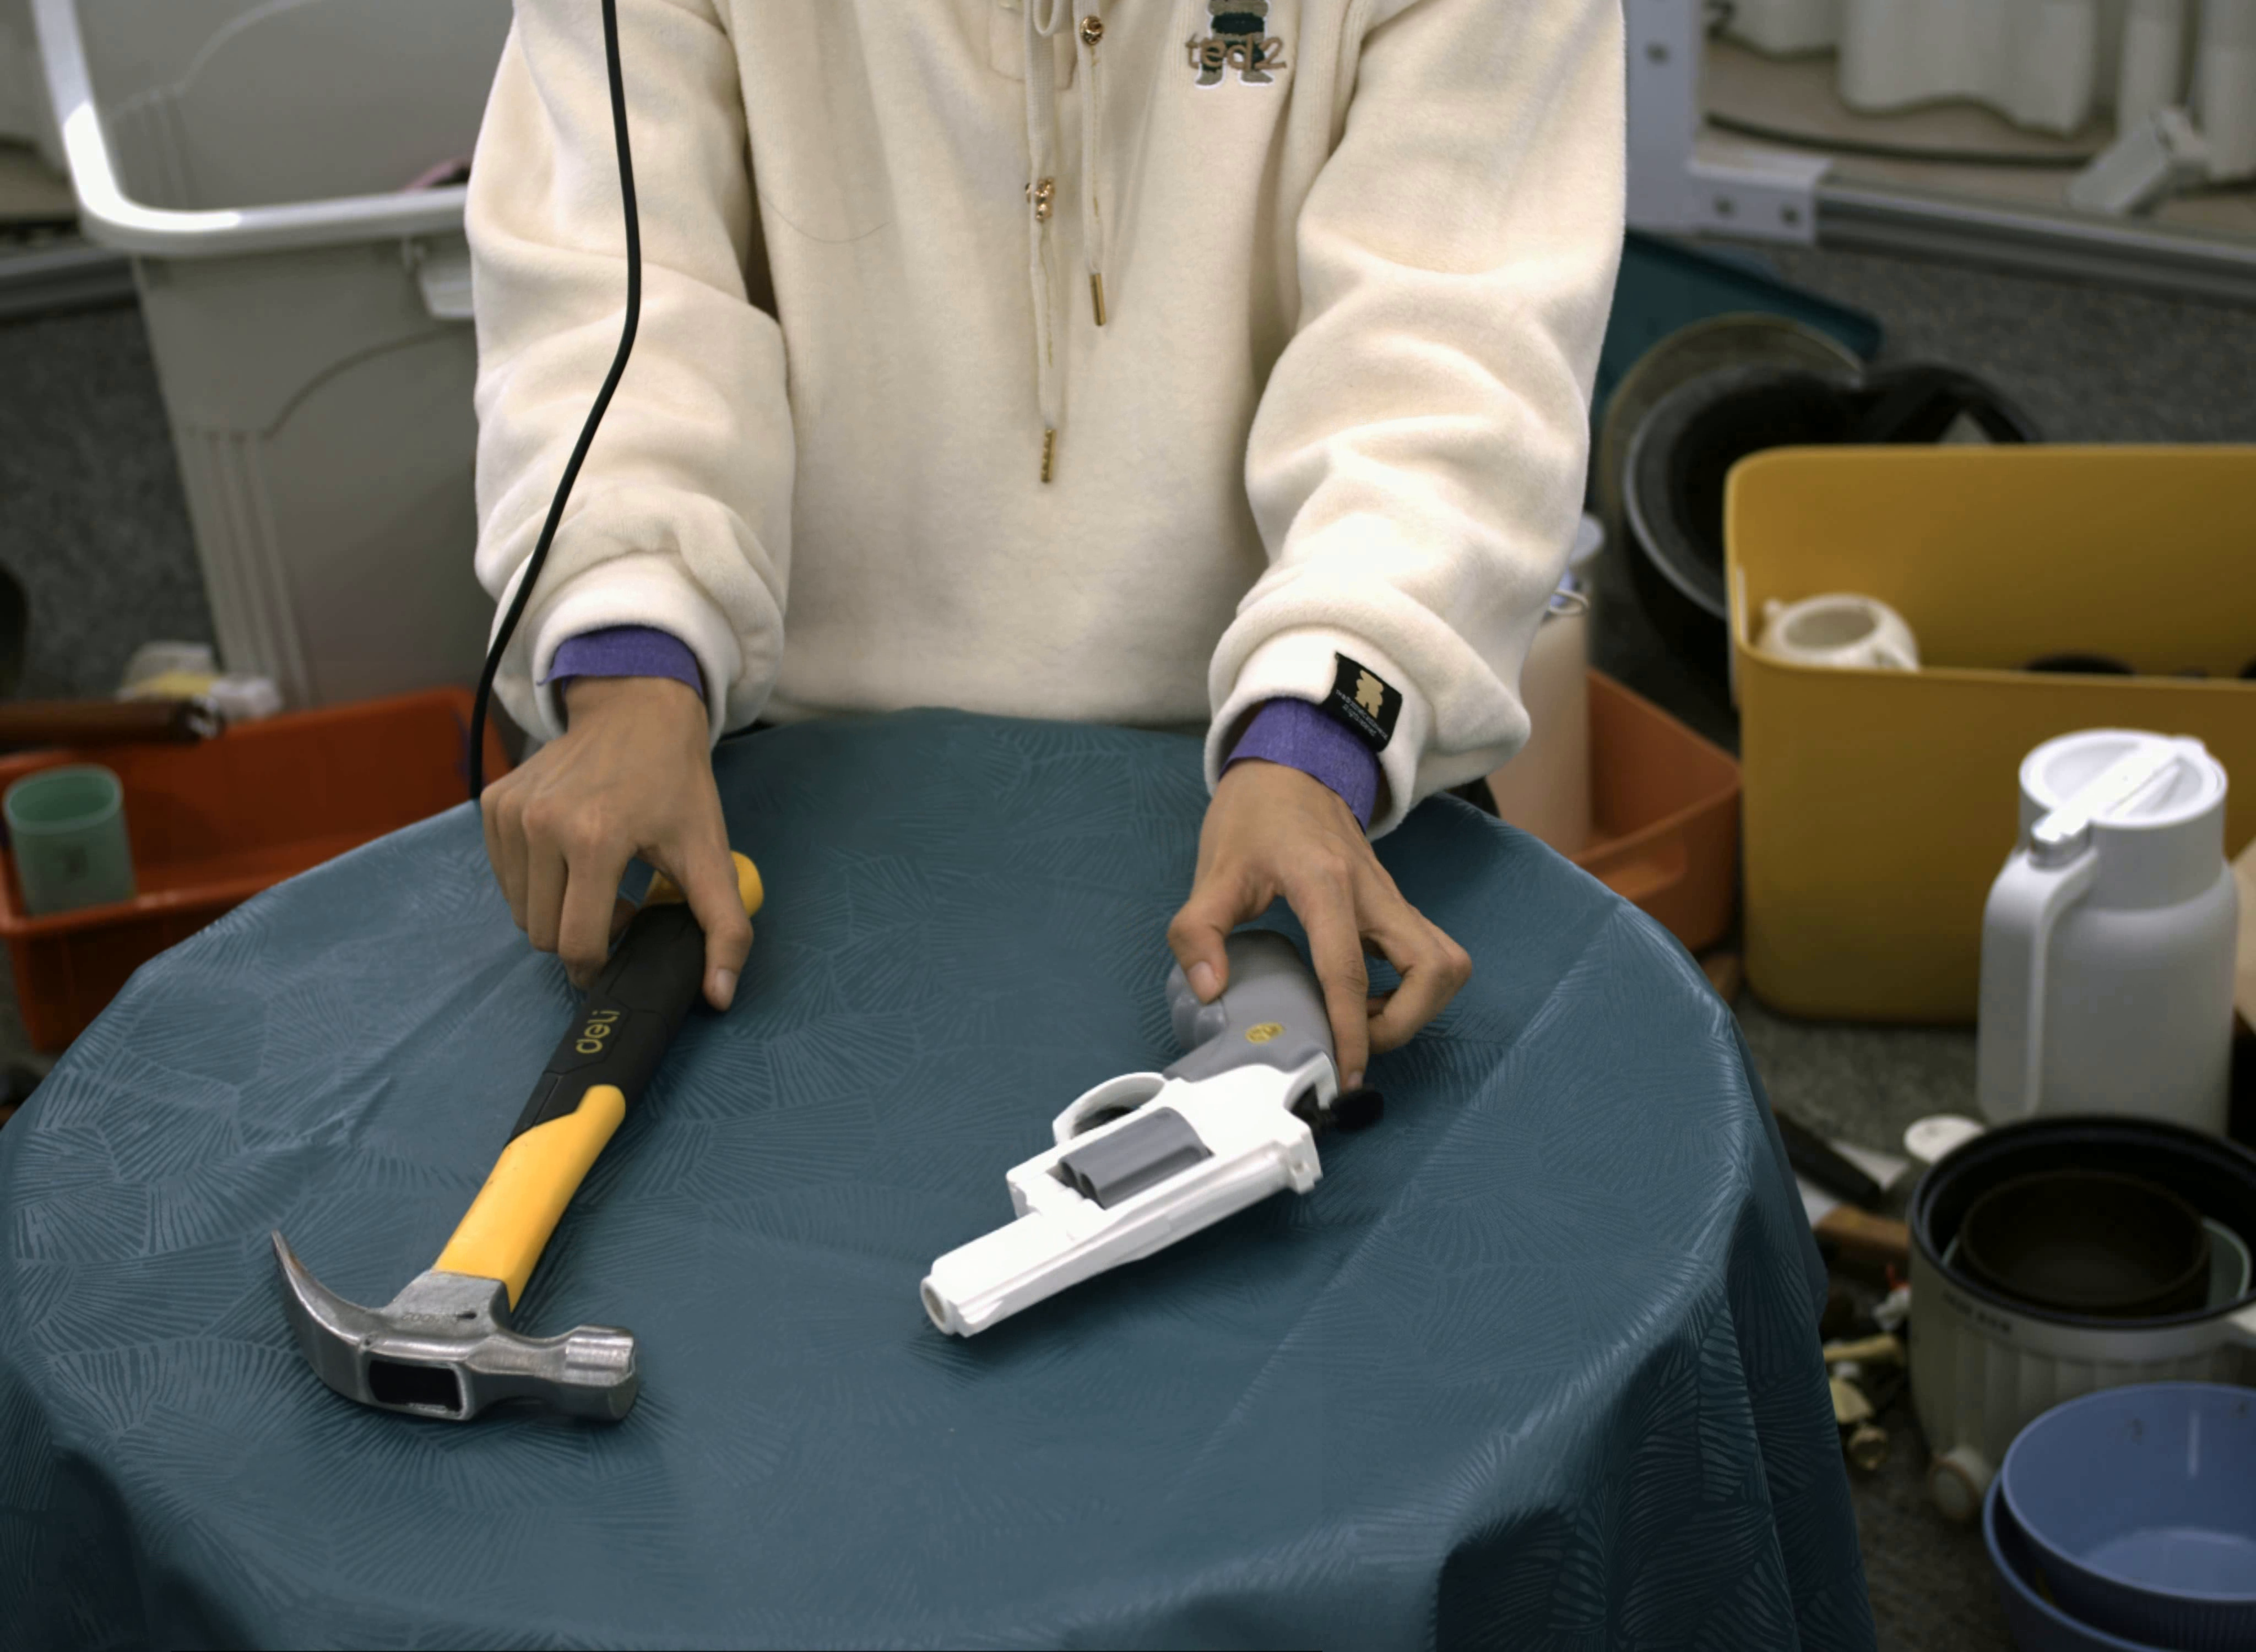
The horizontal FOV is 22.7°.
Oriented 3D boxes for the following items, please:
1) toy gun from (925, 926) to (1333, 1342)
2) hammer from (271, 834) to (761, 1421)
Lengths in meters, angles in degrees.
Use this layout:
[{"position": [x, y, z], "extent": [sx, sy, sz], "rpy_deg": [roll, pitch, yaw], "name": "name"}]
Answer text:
[{"position": [0.000, 0.101, 1.860], "extent": [0.211, 0.038, 0.141], "rpy_deg": [-27, 26, -24], "name": "toy gun"}, {"position": [-0.187, 0.093, 1.894], "extent": [0.130, 0.032, 0.344], "rpy_deg": [2, 29, 13], "name": "hammer"}]
